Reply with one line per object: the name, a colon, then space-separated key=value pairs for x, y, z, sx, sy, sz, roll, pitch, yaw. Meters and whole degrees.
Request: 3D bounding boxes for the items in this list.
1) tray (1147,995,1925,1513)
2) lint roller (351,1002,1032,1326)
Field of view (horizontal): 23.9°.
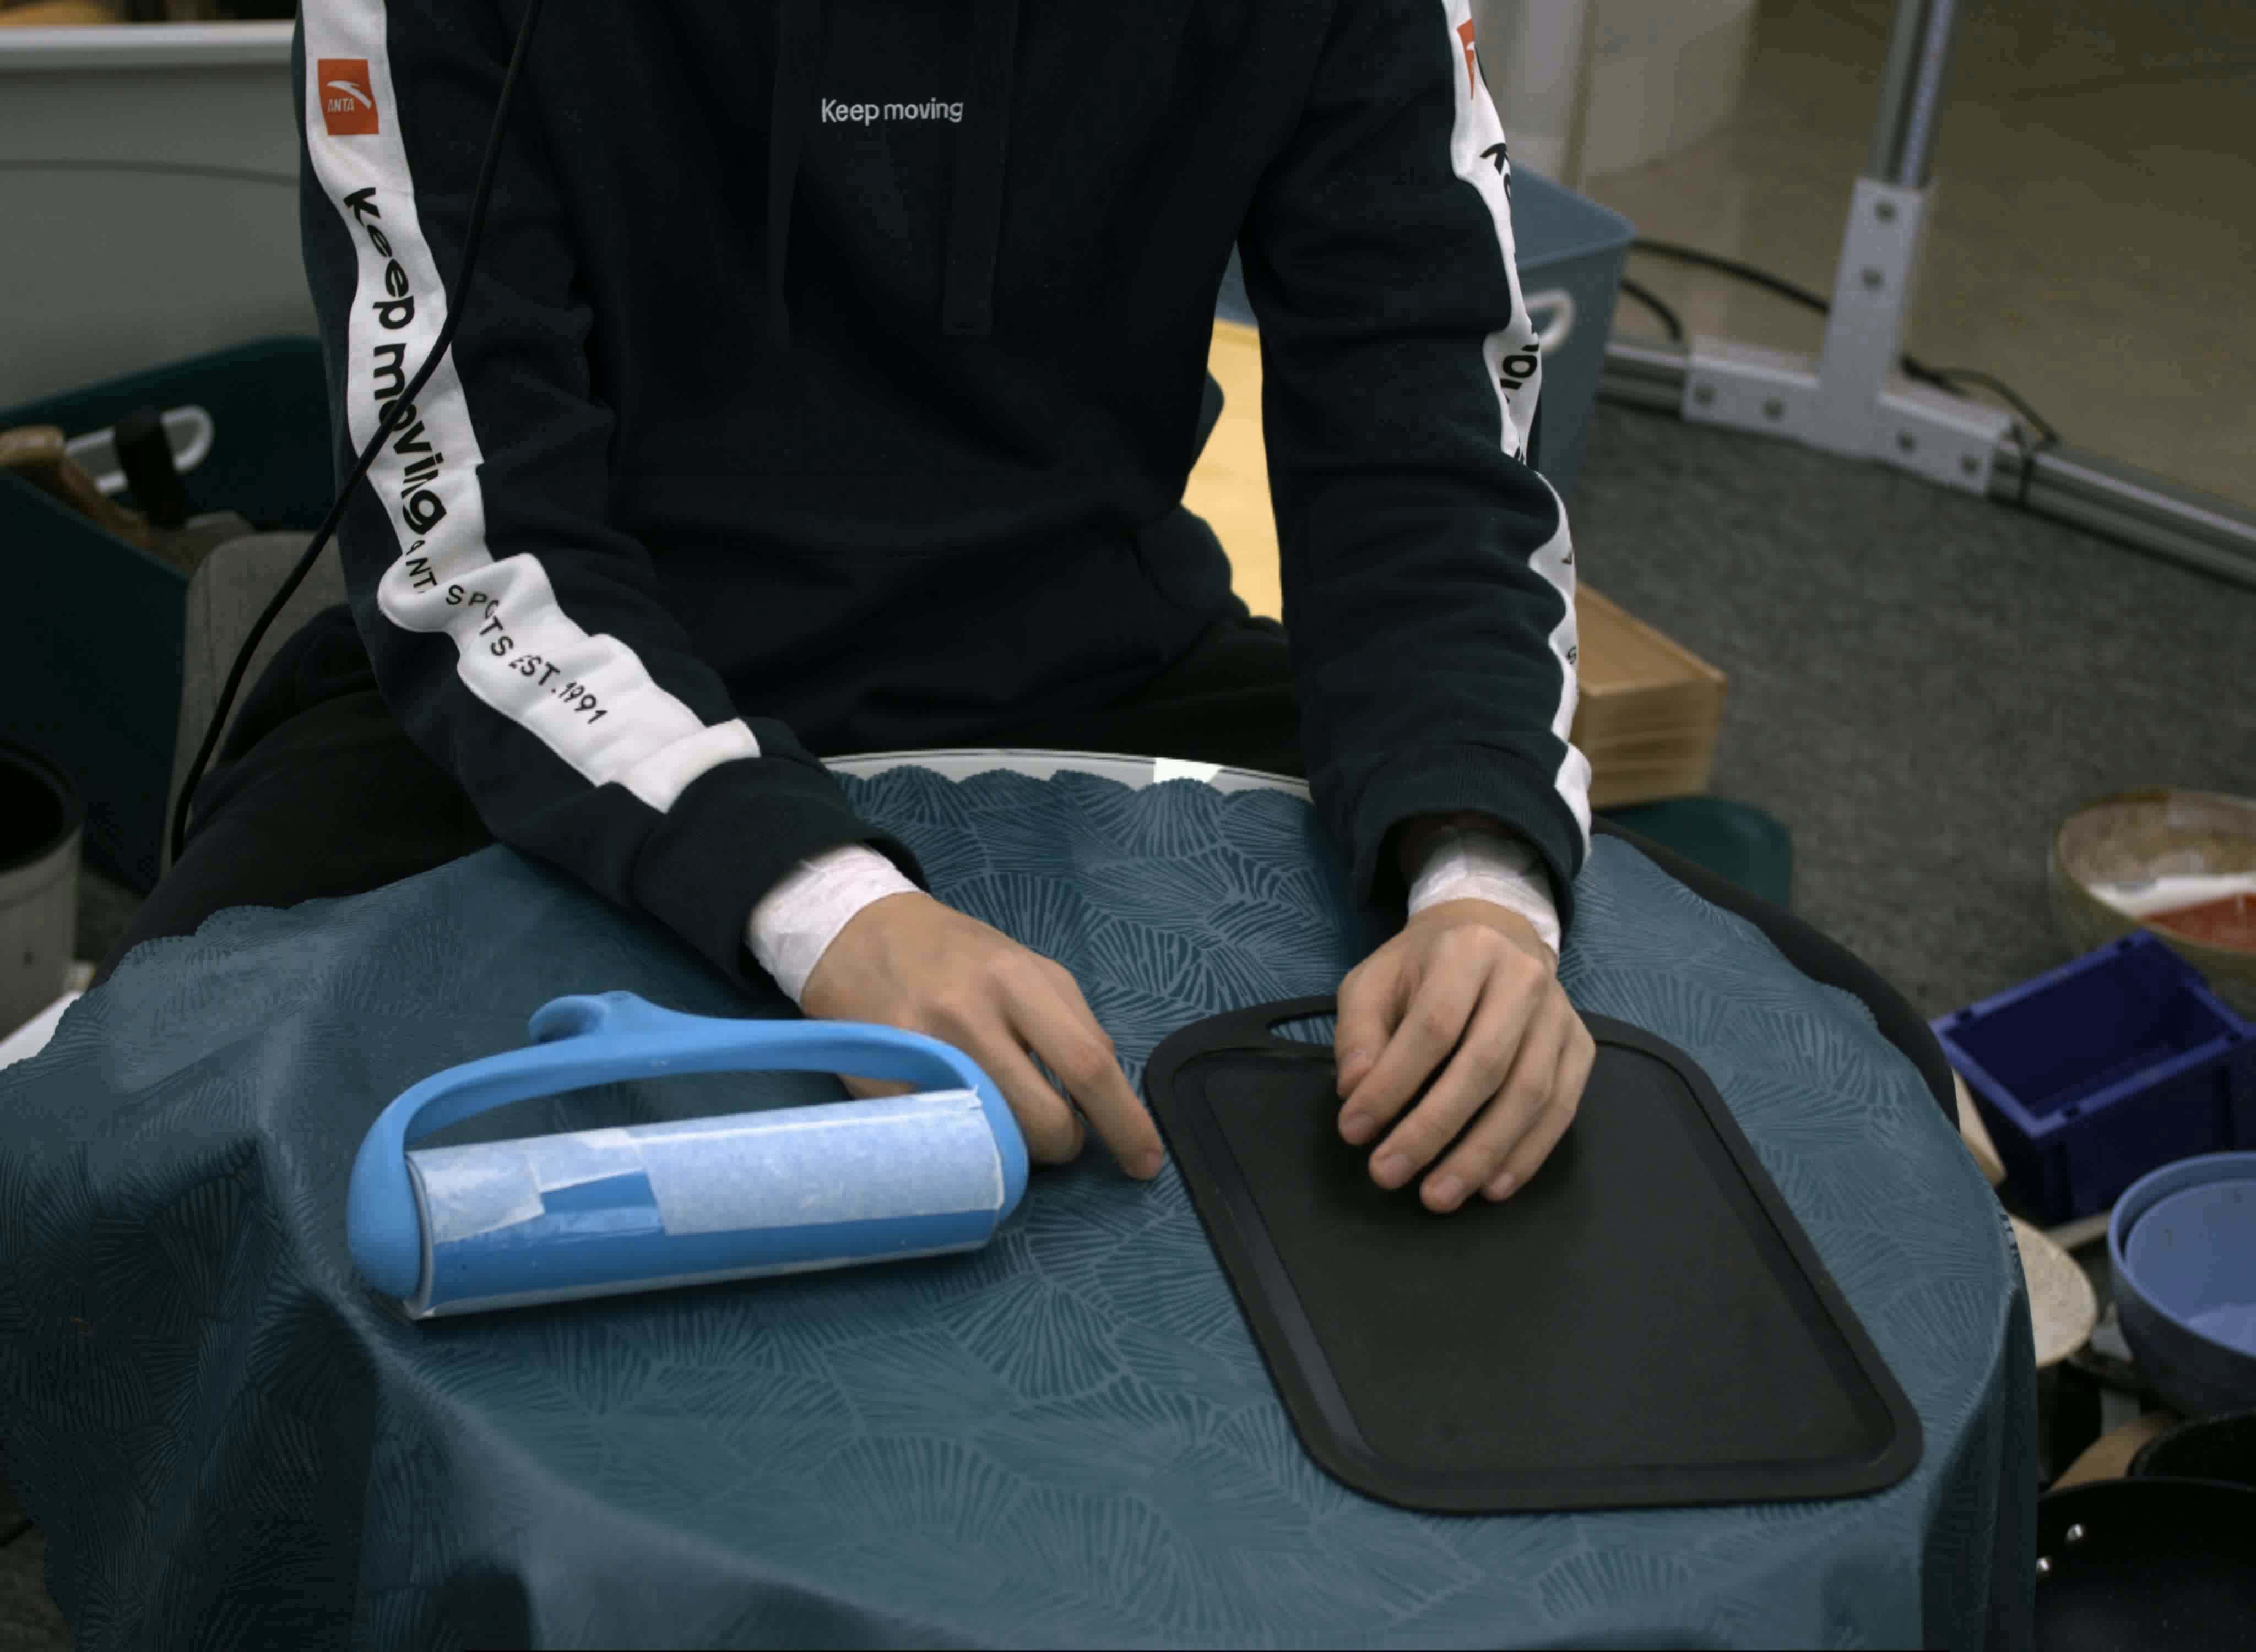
tray: x=0.128 y=0.136 z=1.795 sx=0.210 sy=0.010 sz=0.328 roll=0 pitch=27 yaw=-13
lint roller: x=-0.163 y=0.093 z=1.759 sx=0.227 sy=0.067 sz=0.182 roll=-8 pitch=31 yaw=-24
